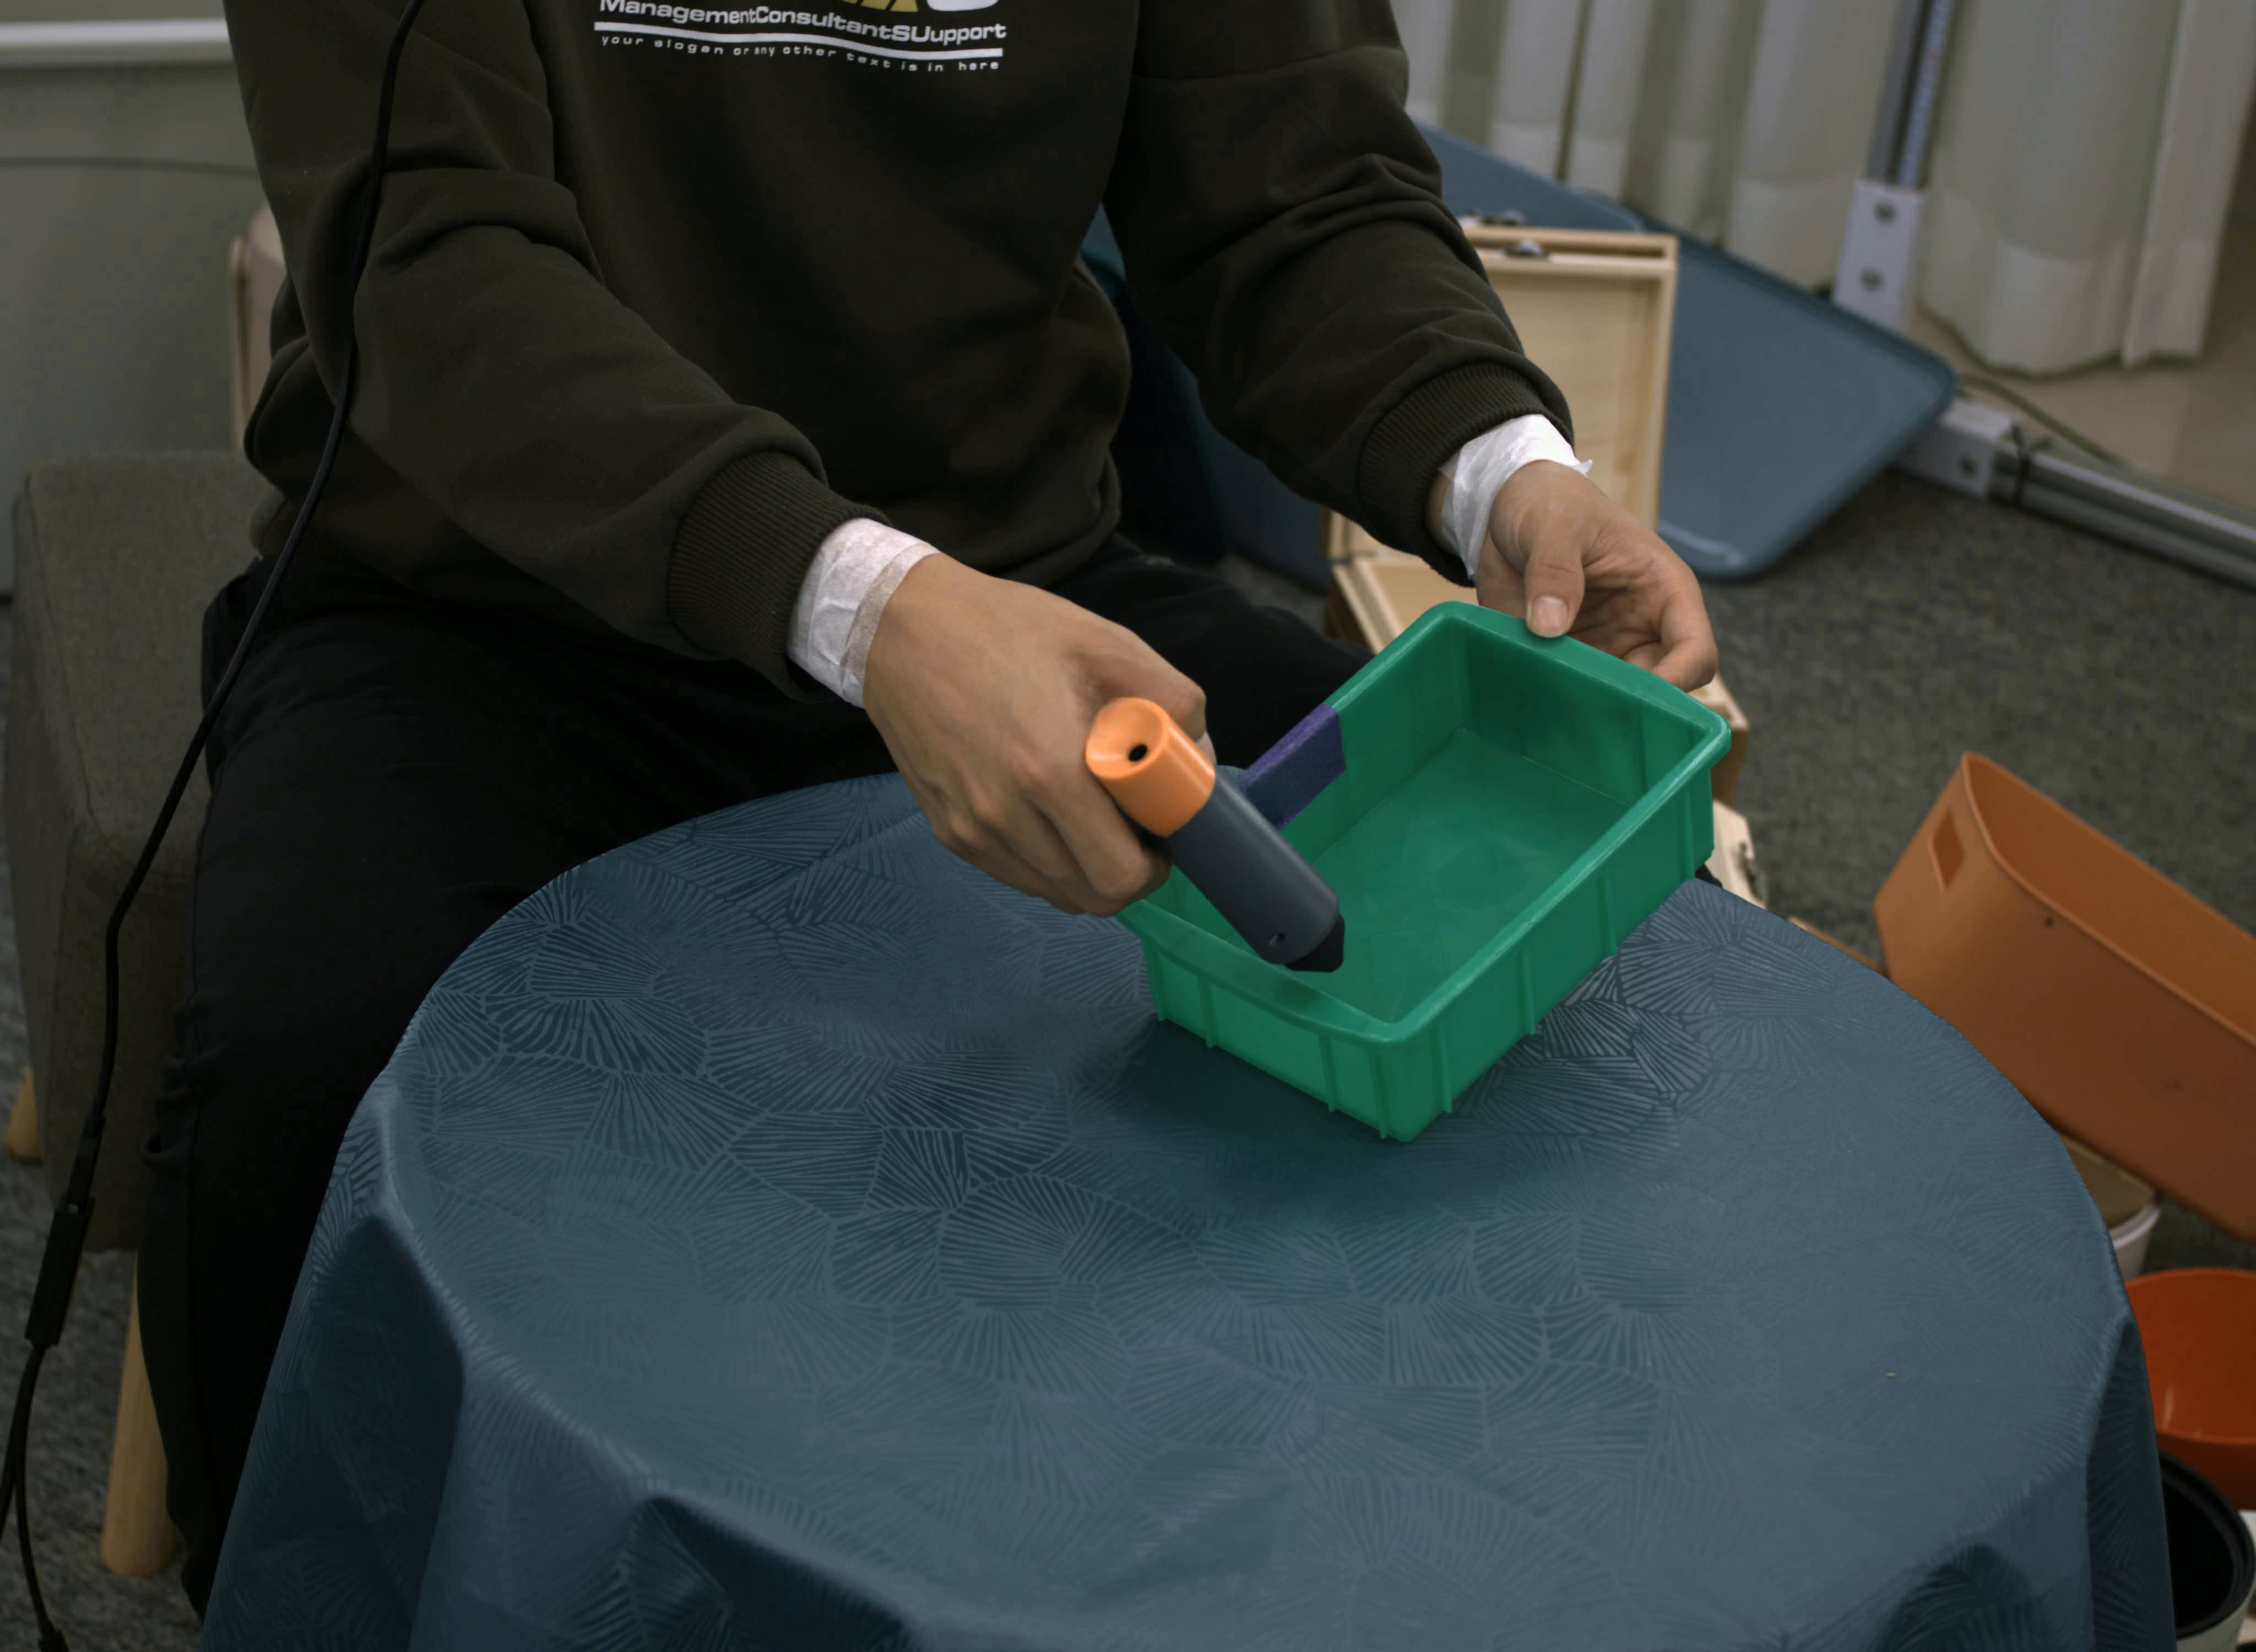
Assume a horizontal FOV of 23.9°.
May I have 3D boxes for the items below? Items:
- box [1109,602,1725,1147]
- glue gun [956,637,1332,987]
[{"bbox_3d":[0.107,0.019,1.913,0.139,0.065,0.210,24,53,34],"label":"box"},{"bbox_3d":[0.008,-0.006,1.839,0.041,0.117,0.141,-43,44,-16],"label":"glue gun"}]
